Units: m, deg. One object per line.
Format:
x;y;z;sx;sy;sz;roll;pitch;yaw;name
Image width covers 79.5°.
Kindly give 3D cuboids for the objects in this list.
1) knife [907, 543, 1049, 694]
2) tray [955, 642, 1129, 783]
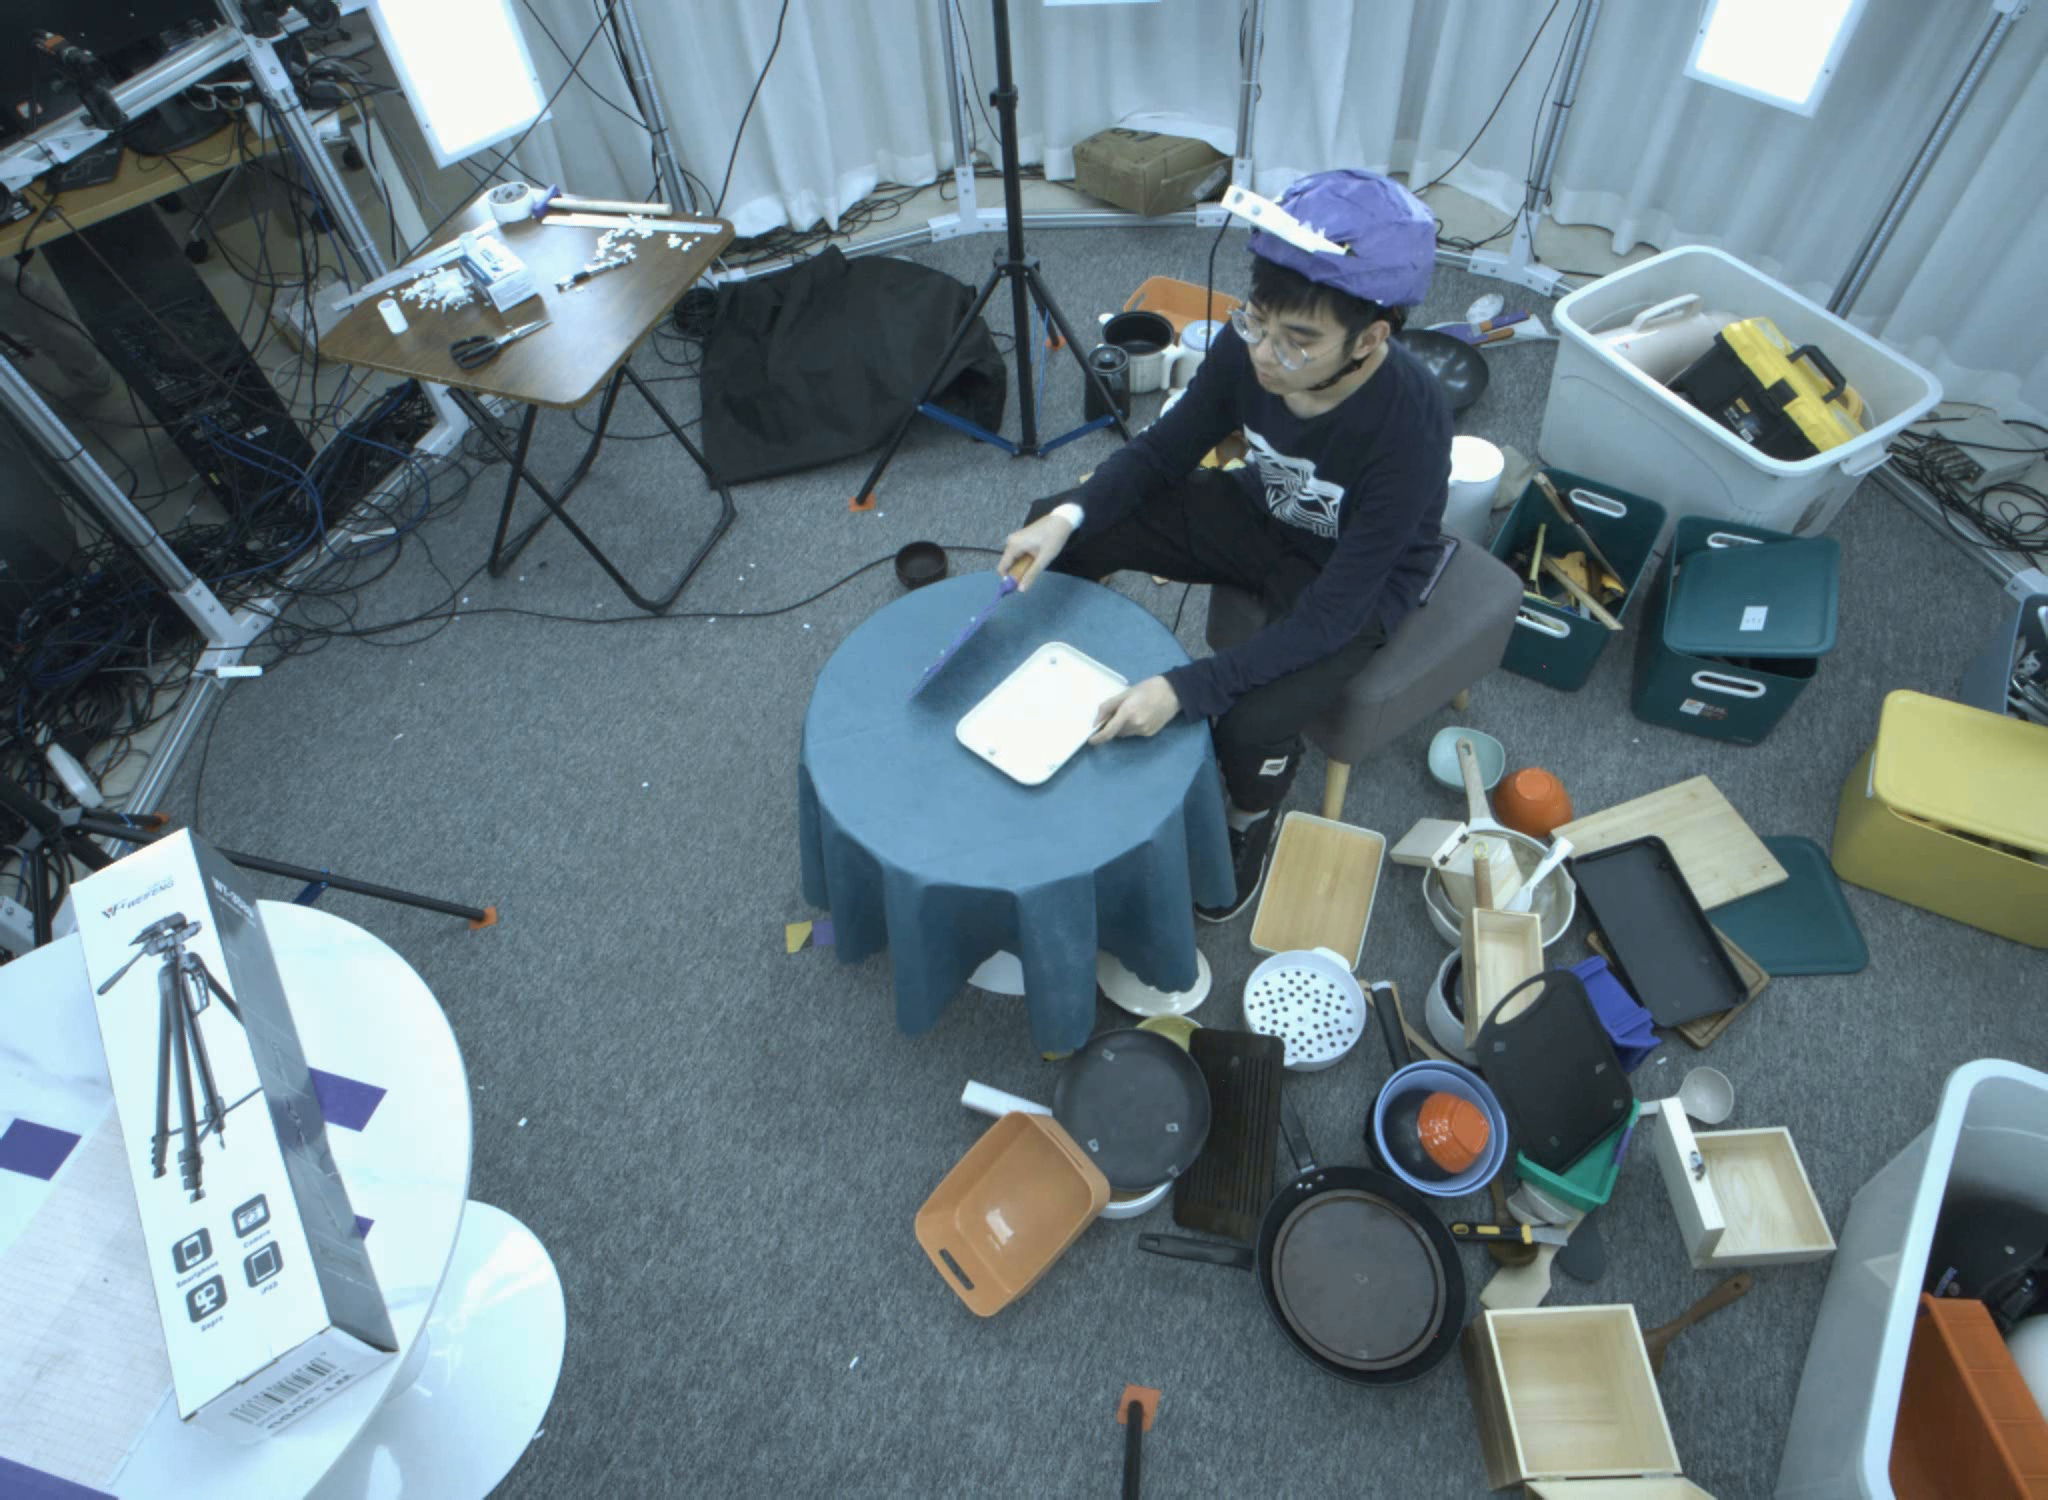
-0.075;-0.202;1.876;0.032;0.102;0.317;46;62;-9;knife
0.028;-0.057;1.821;0.168;0.018;0.241;33;62;26;tray
